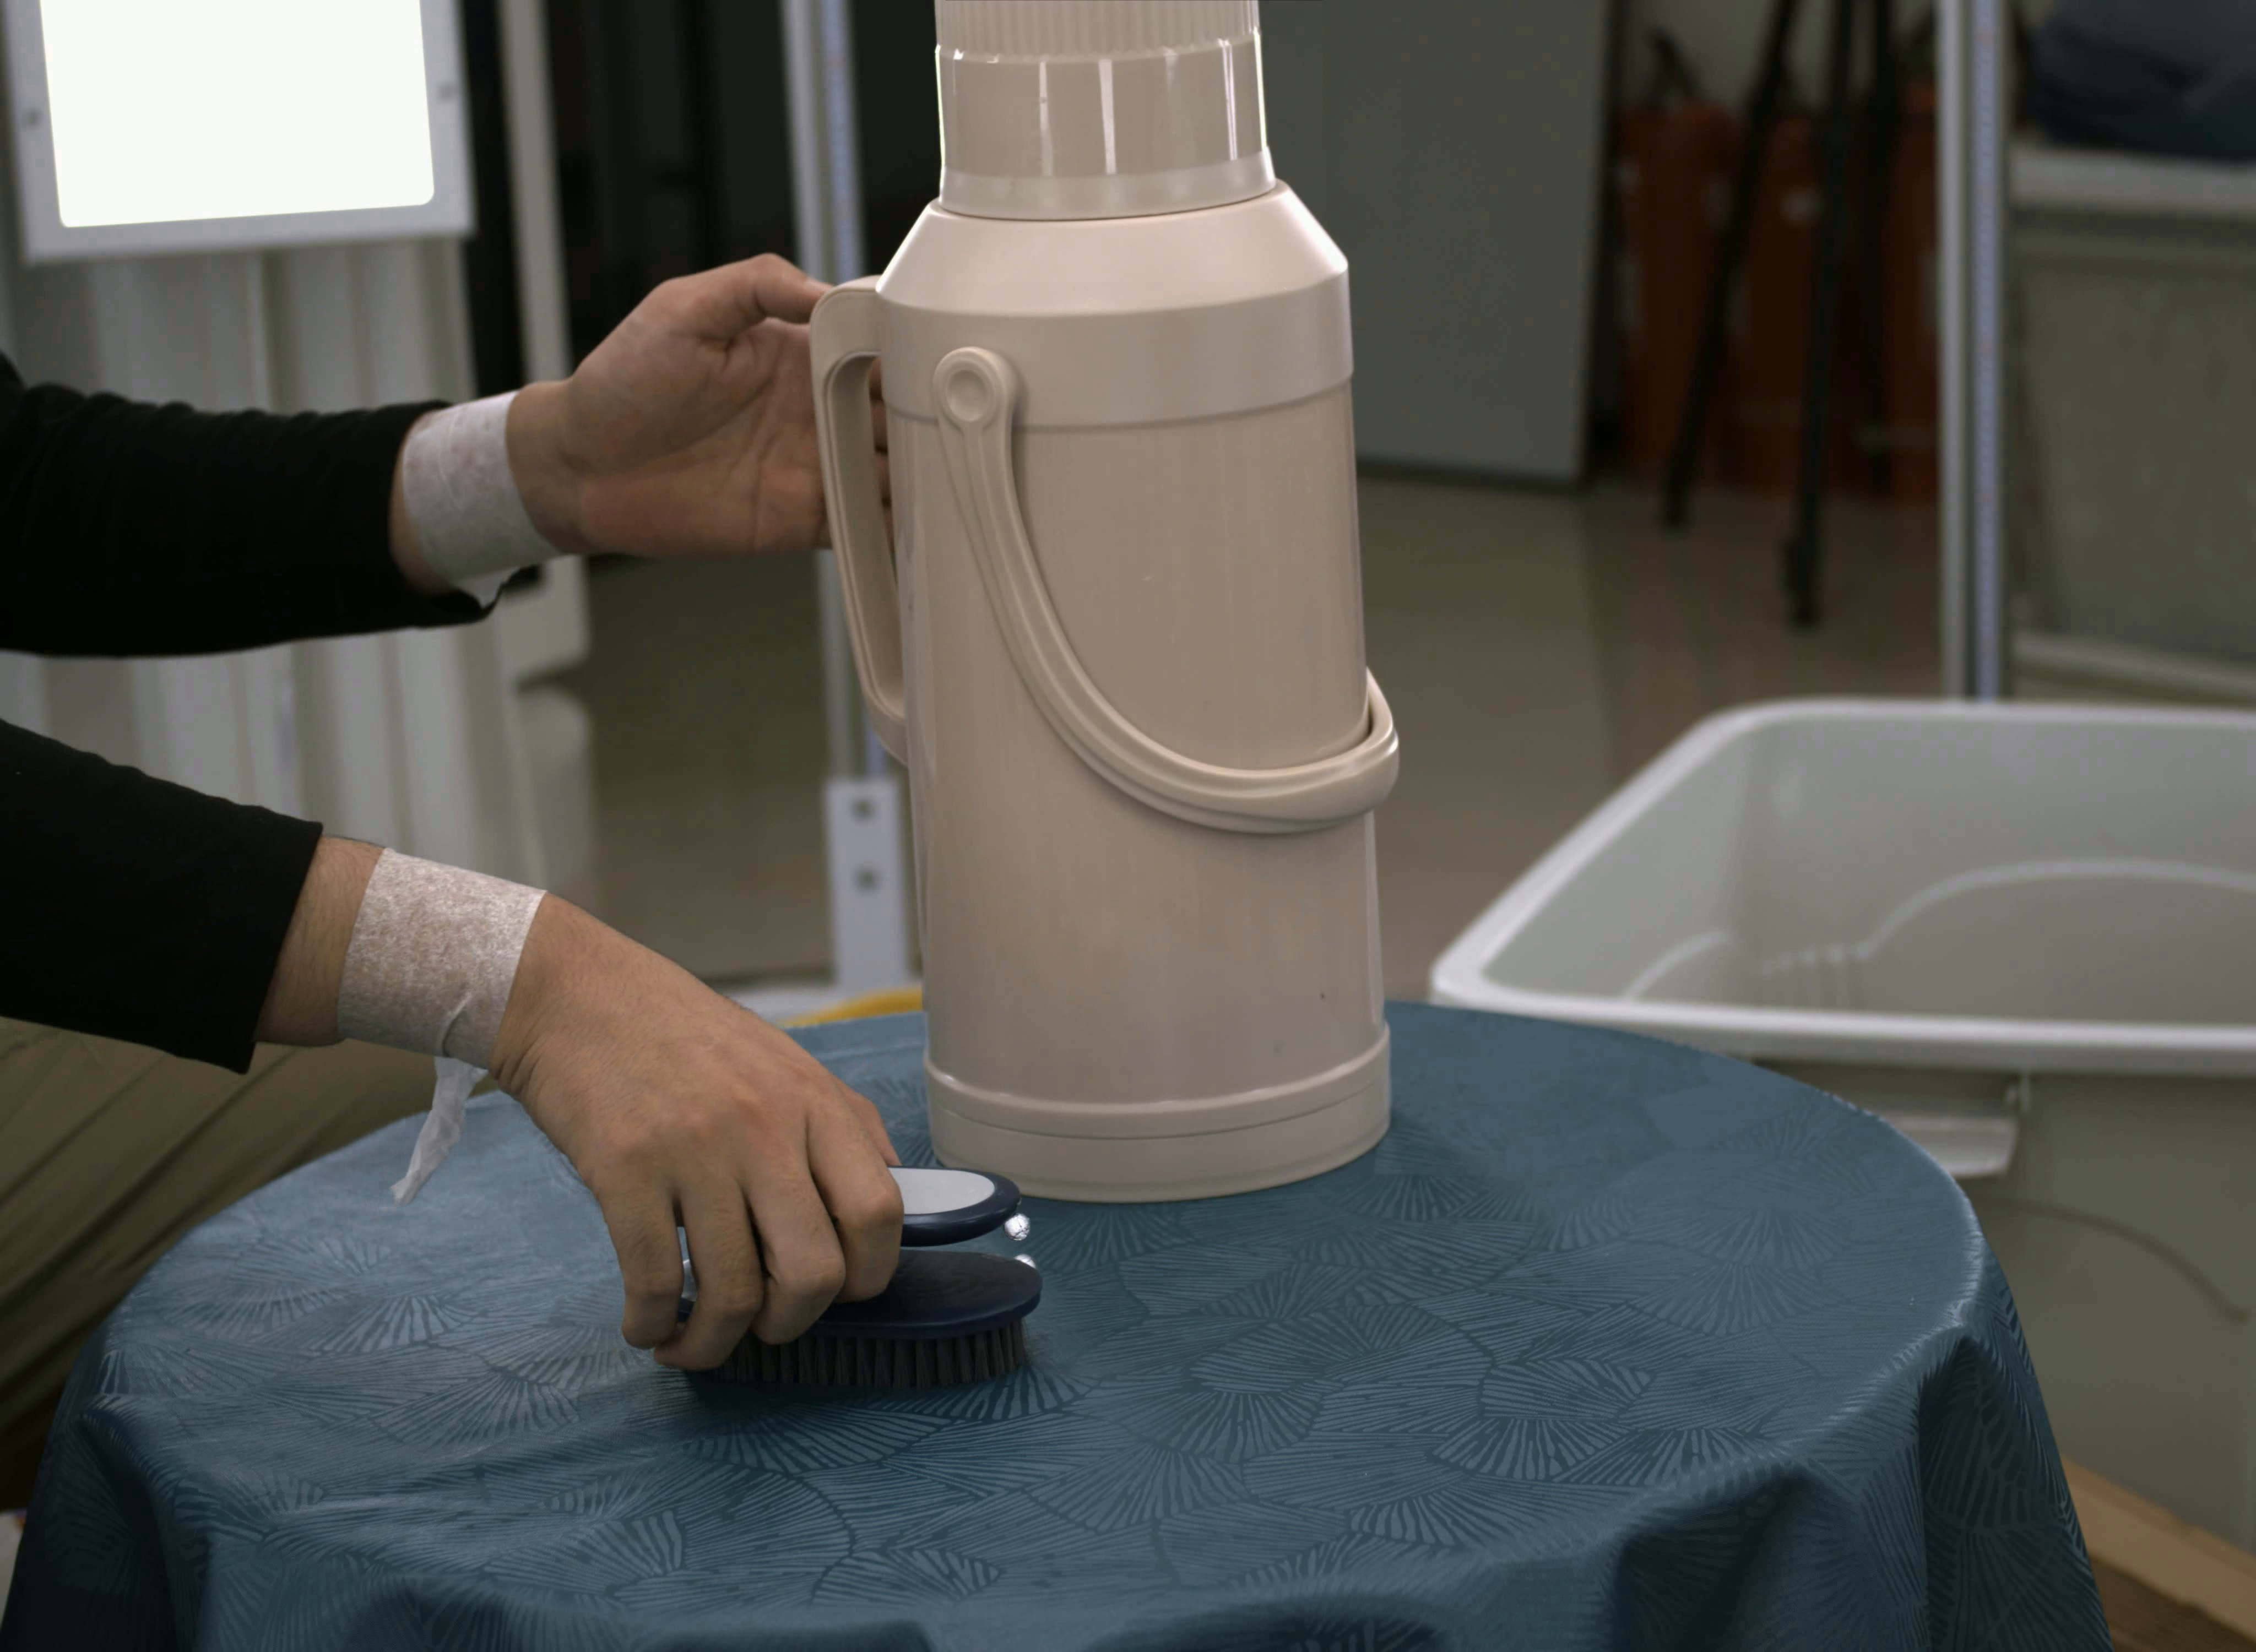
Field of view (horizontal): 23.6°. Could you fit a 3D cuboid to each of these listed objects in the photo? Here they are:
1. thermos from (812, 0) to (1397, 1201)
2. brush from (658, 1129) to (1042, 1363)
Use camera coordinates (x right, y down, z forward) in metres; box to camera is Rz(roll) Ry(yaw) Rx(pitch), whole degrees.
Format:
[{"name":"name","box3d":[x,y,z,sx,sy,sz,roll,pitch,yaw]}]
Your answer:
[{"name":"thermos","box3d":[-0.011,-0.091,1.798,0.208,0.410,0.172,5,17,33]},{"name":"brush","box3d":[-0.084,0.128,1.625,0.121,0.062,0.067,1,16,23]}]
